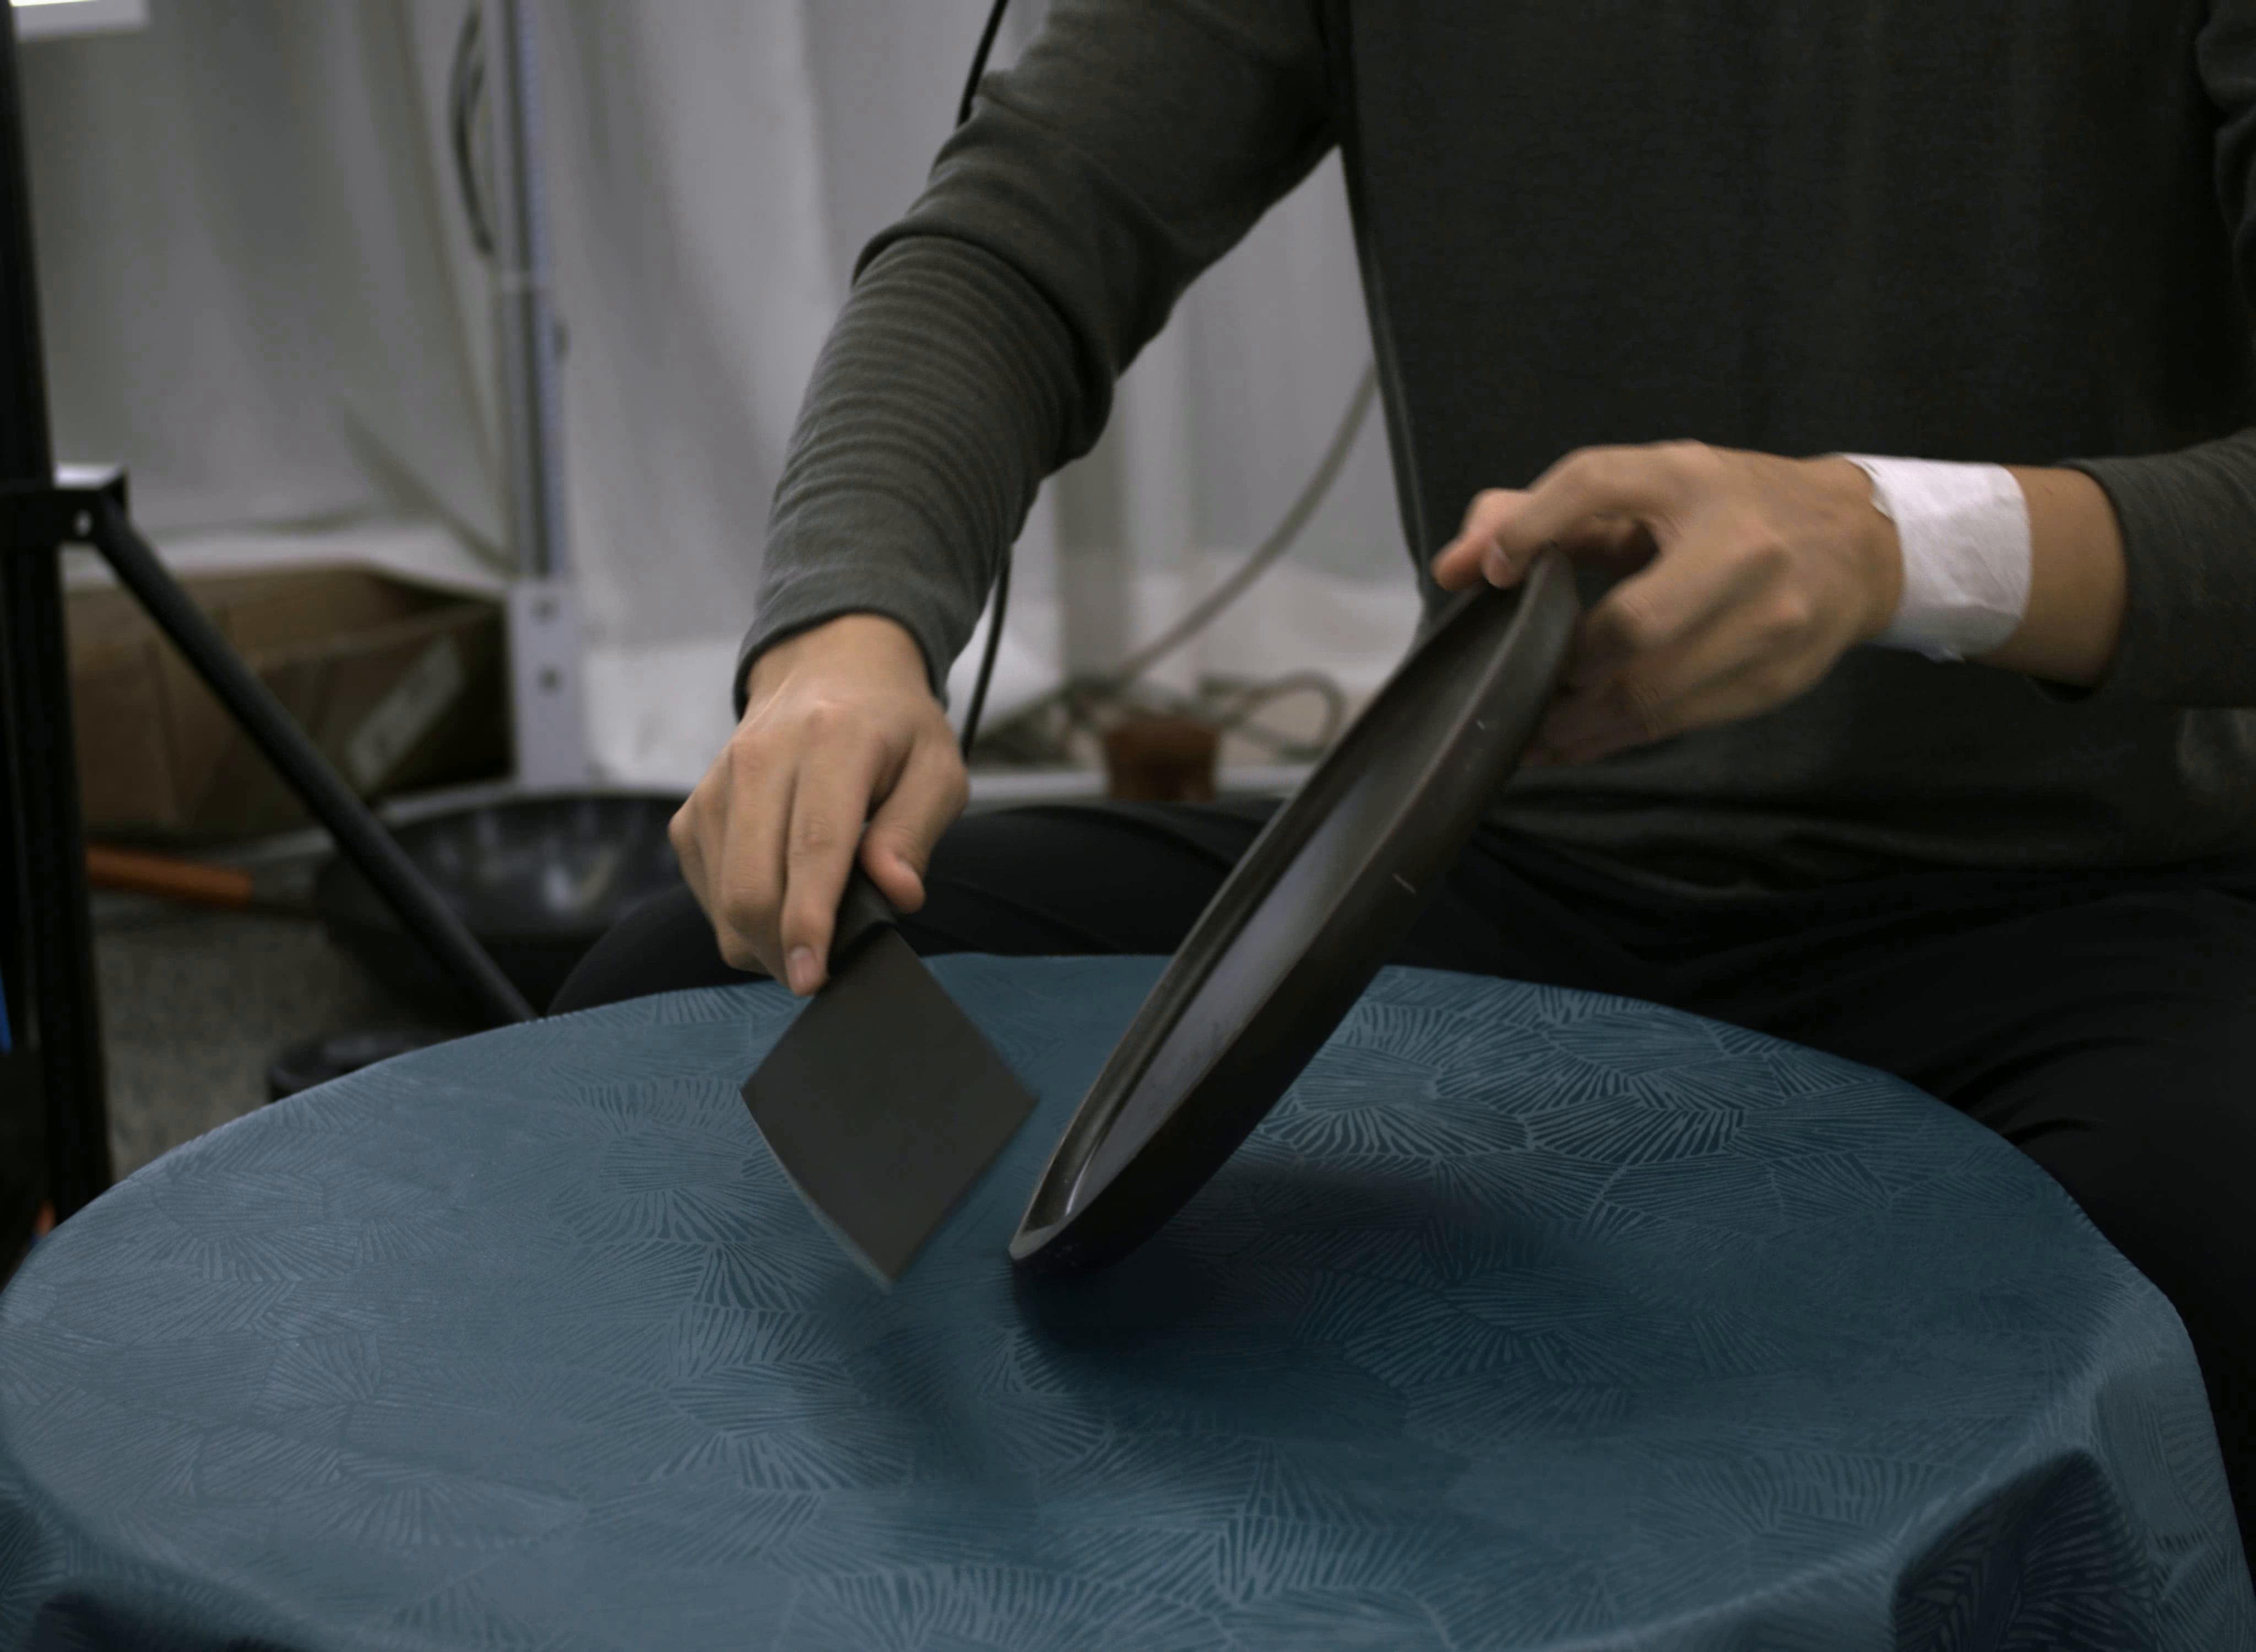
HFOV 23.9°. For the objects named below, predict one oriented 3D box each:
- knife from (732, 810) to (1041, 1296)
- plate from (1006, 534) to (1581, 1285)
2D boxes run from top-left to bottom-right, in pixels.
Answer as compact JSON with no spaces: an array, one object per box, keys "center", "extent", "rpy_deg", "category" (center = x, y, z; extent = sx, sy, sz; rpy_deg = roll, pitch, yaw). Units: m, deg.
[{"center":[-0.077,0.055,1.477],"extent":[0.020,0.081,0.306],"rpy_deg":[40,7,-21],"category":"knife"},{"center":[0.048,0.025,1.488],"extent":[0.029,0.256,0.255],"rpy_deg":[35,16,-6],"category":"plate"}]
